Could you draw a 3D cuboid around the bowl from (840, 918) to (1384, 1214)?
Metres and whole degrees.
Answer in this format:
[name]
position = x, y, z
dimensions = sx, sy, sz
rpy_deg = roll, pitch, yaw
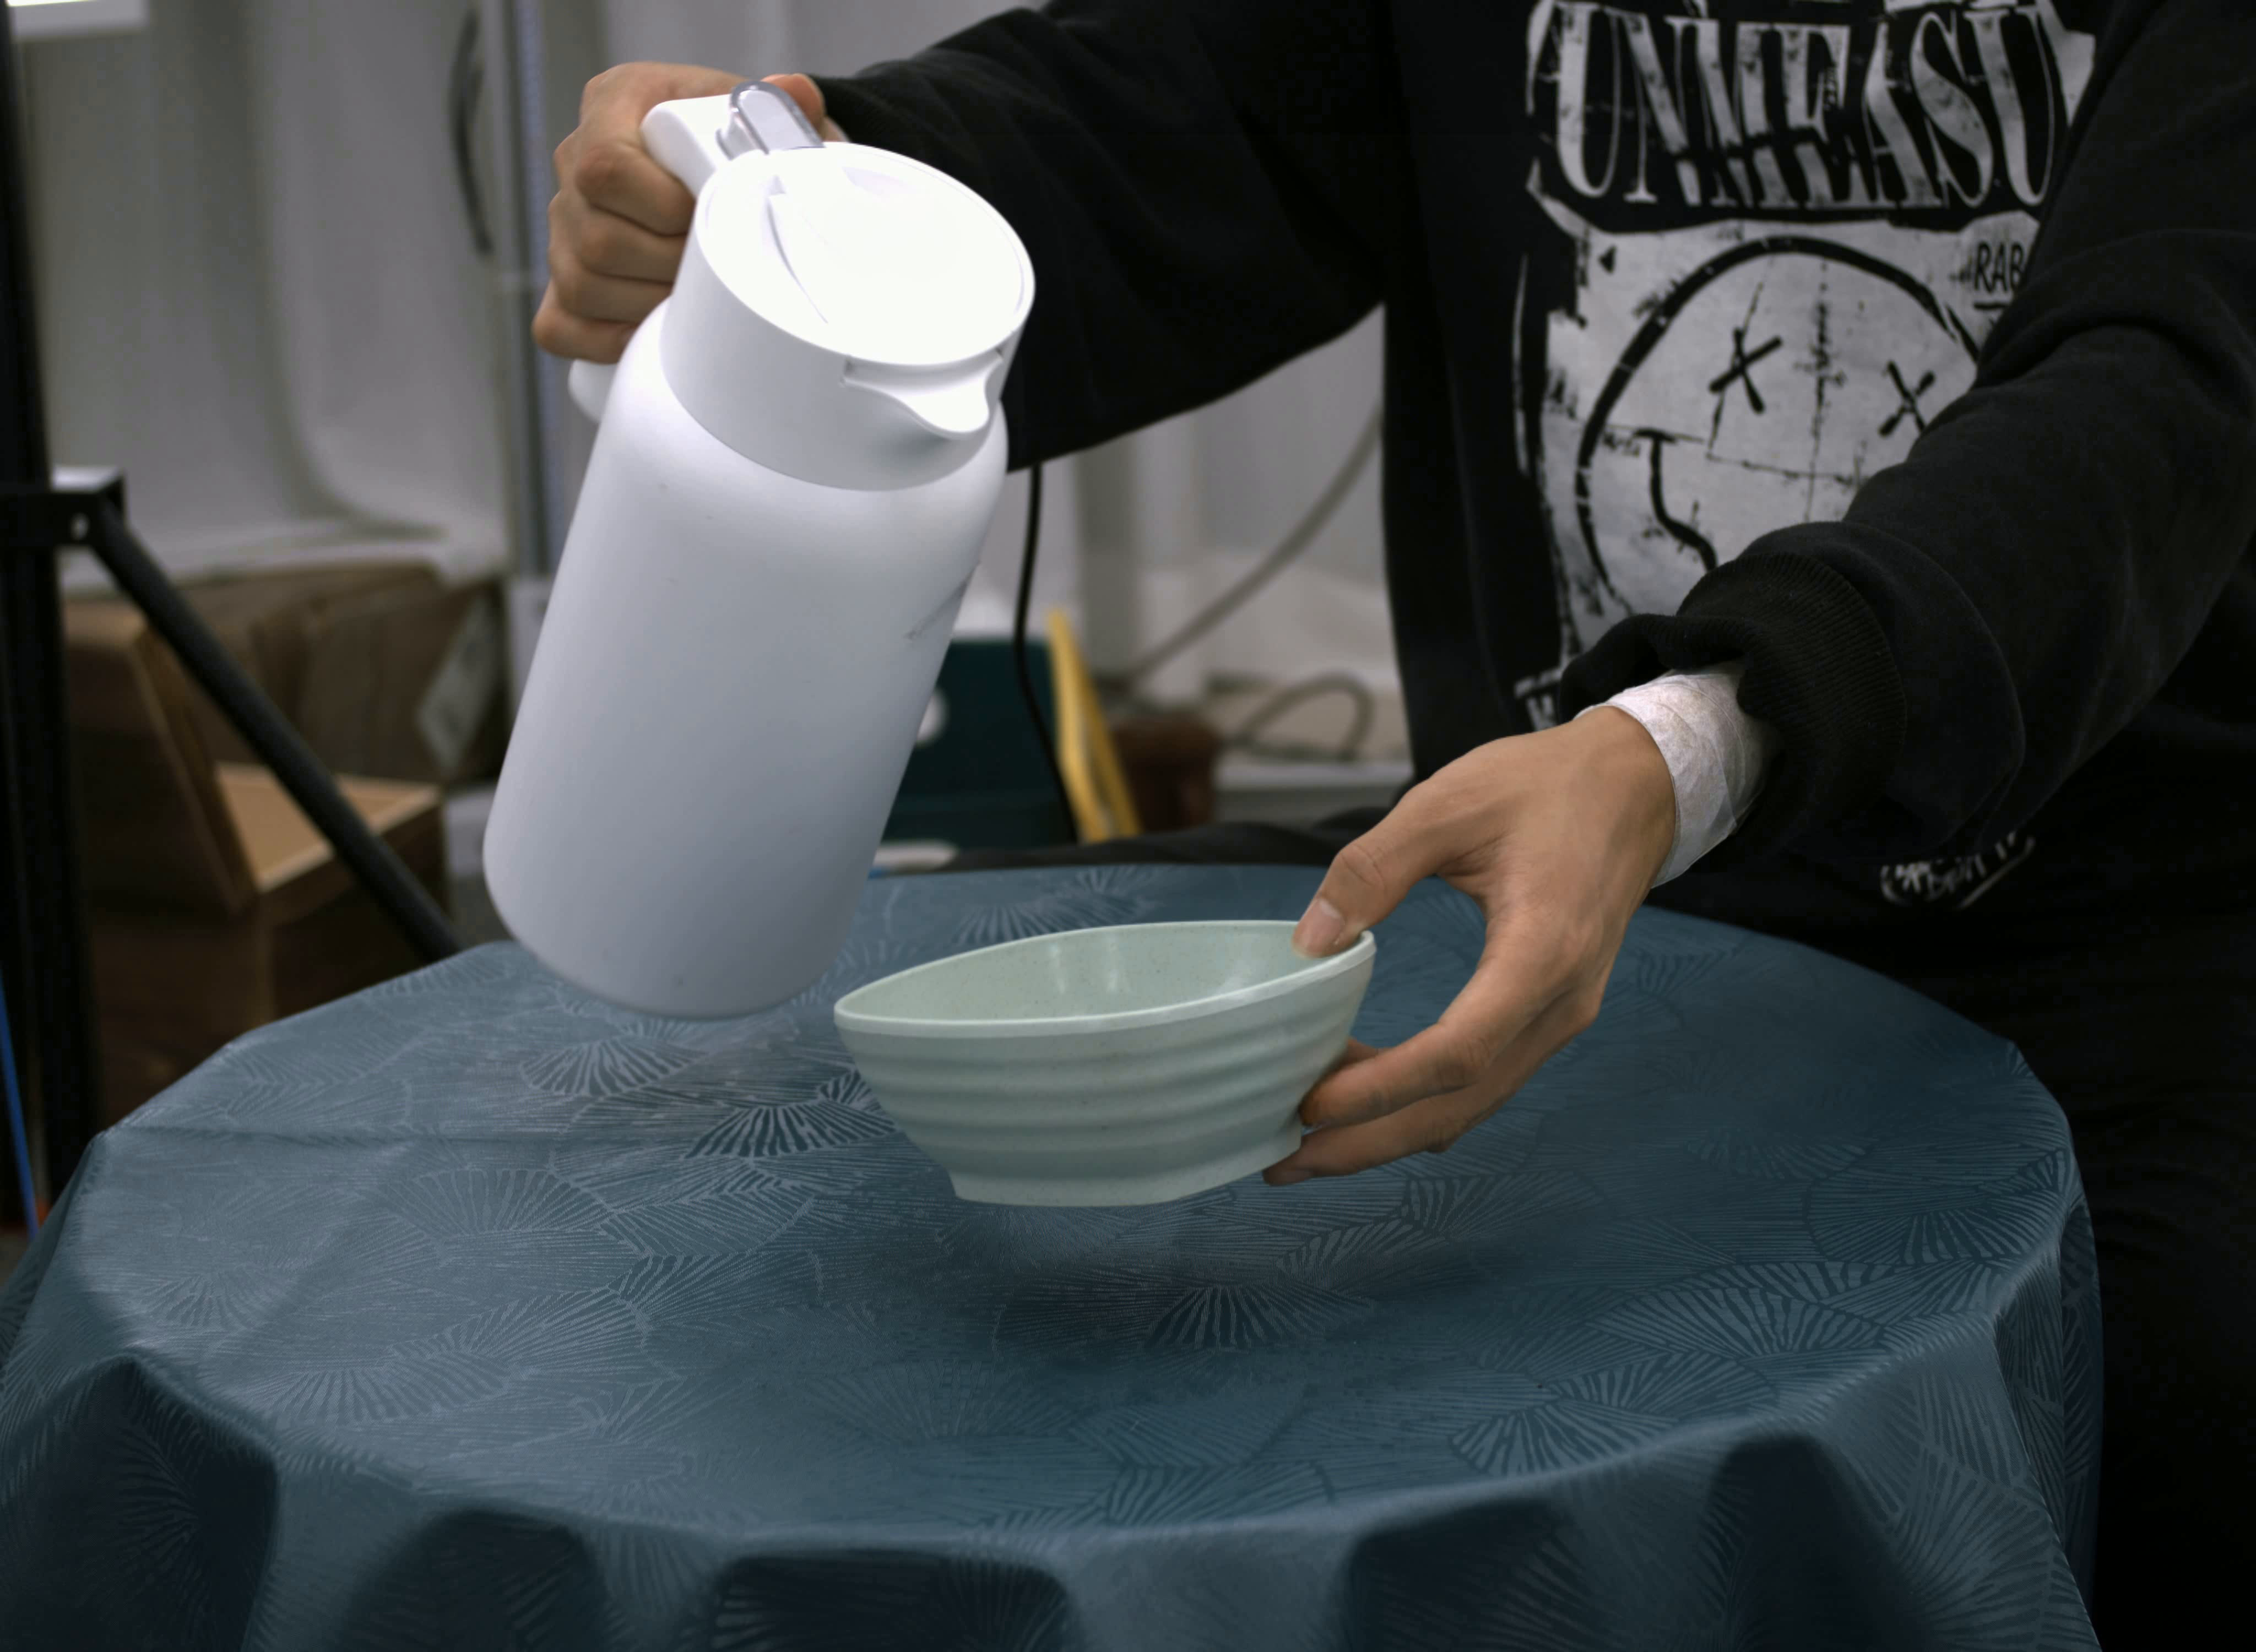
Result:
[bowl]
position = -0.001, 0.068, 1.457
dimensions = 0.151, 0.059, 0.152
rpy_deg = -7, 9, 0

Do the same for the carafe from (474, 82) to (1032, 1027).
[carafe]
position = -0.120, -0.082, 1.584
dimensions = 0.121, 0.269, 0.176
rpy_deg = -12, 50, -31
